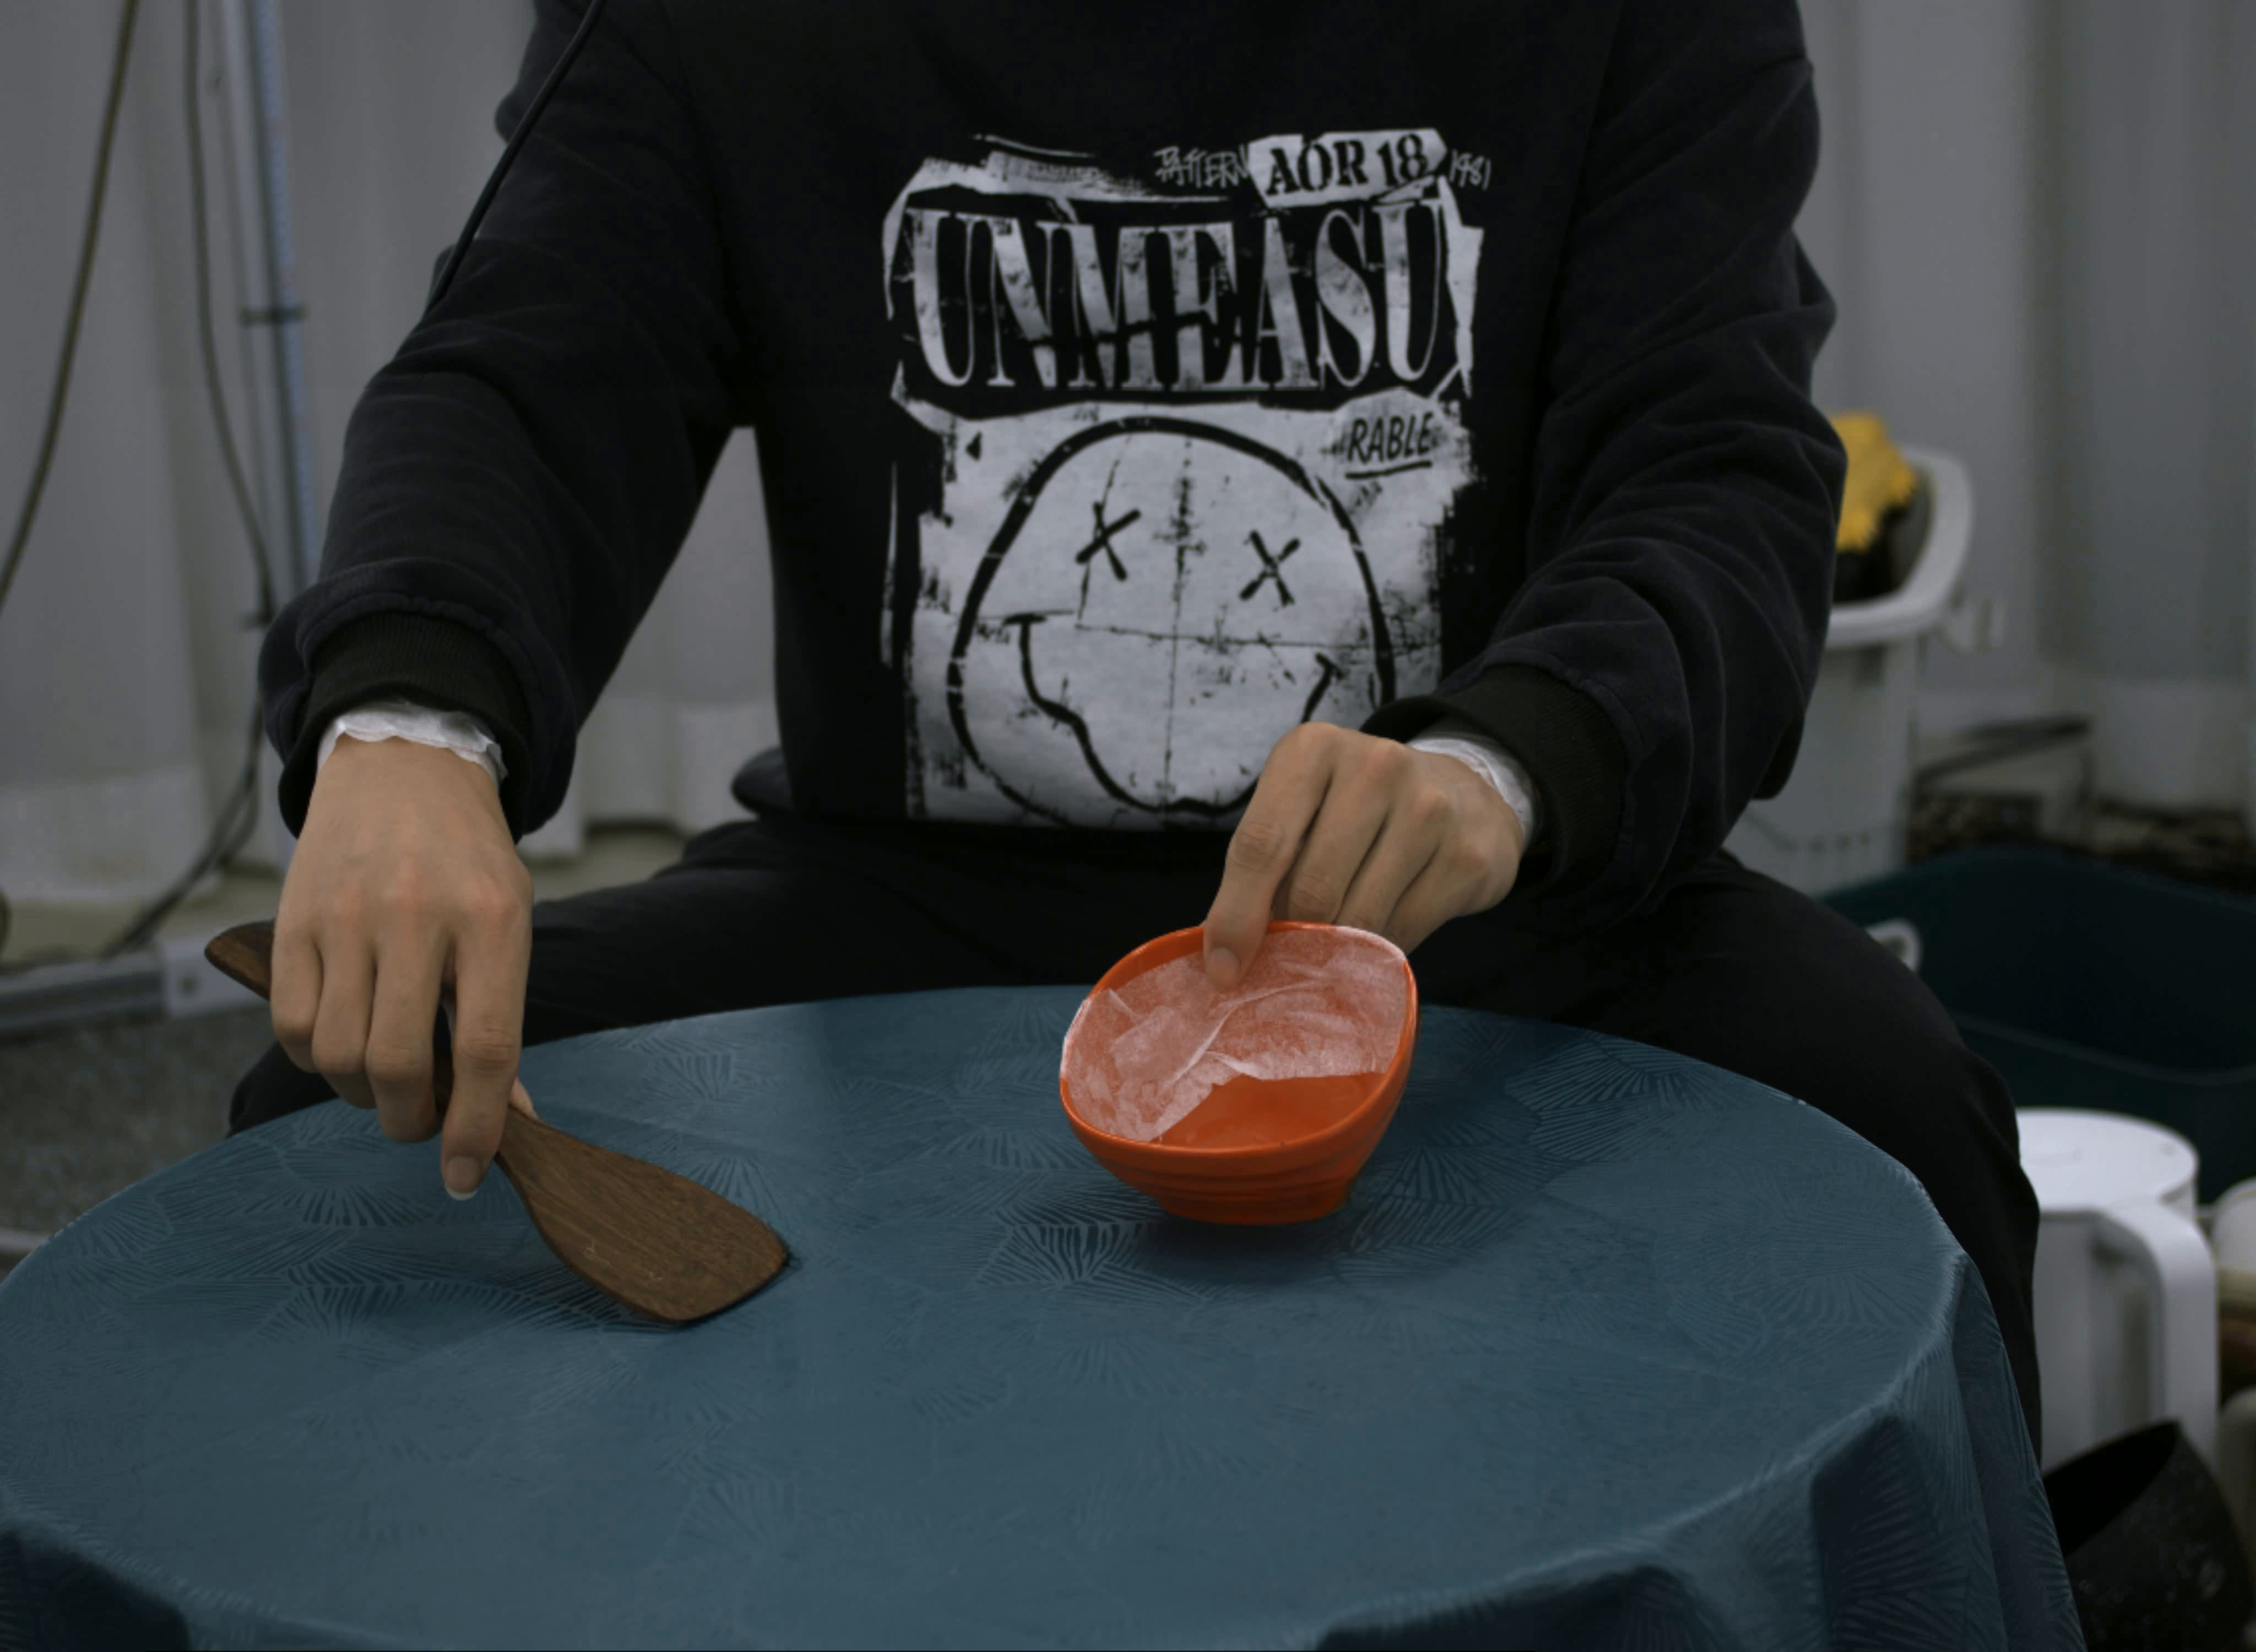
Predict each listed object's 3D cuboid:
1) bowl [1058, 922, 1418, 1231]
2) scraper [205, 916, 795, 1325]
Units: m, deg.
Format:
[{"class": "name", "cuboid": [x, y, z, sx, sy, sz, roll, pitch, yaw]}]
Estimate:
[{"class": "bowl", "cuboid": [0.038, 0.084, 1.689, 0.118, 0.051, 0.120, -9, 37, 6]}, {"class": "scraper", "cuboid": [-0.198, 0.087, 1.671, 0.212, 0.011, 0.076, 34, 30, 18]}]
